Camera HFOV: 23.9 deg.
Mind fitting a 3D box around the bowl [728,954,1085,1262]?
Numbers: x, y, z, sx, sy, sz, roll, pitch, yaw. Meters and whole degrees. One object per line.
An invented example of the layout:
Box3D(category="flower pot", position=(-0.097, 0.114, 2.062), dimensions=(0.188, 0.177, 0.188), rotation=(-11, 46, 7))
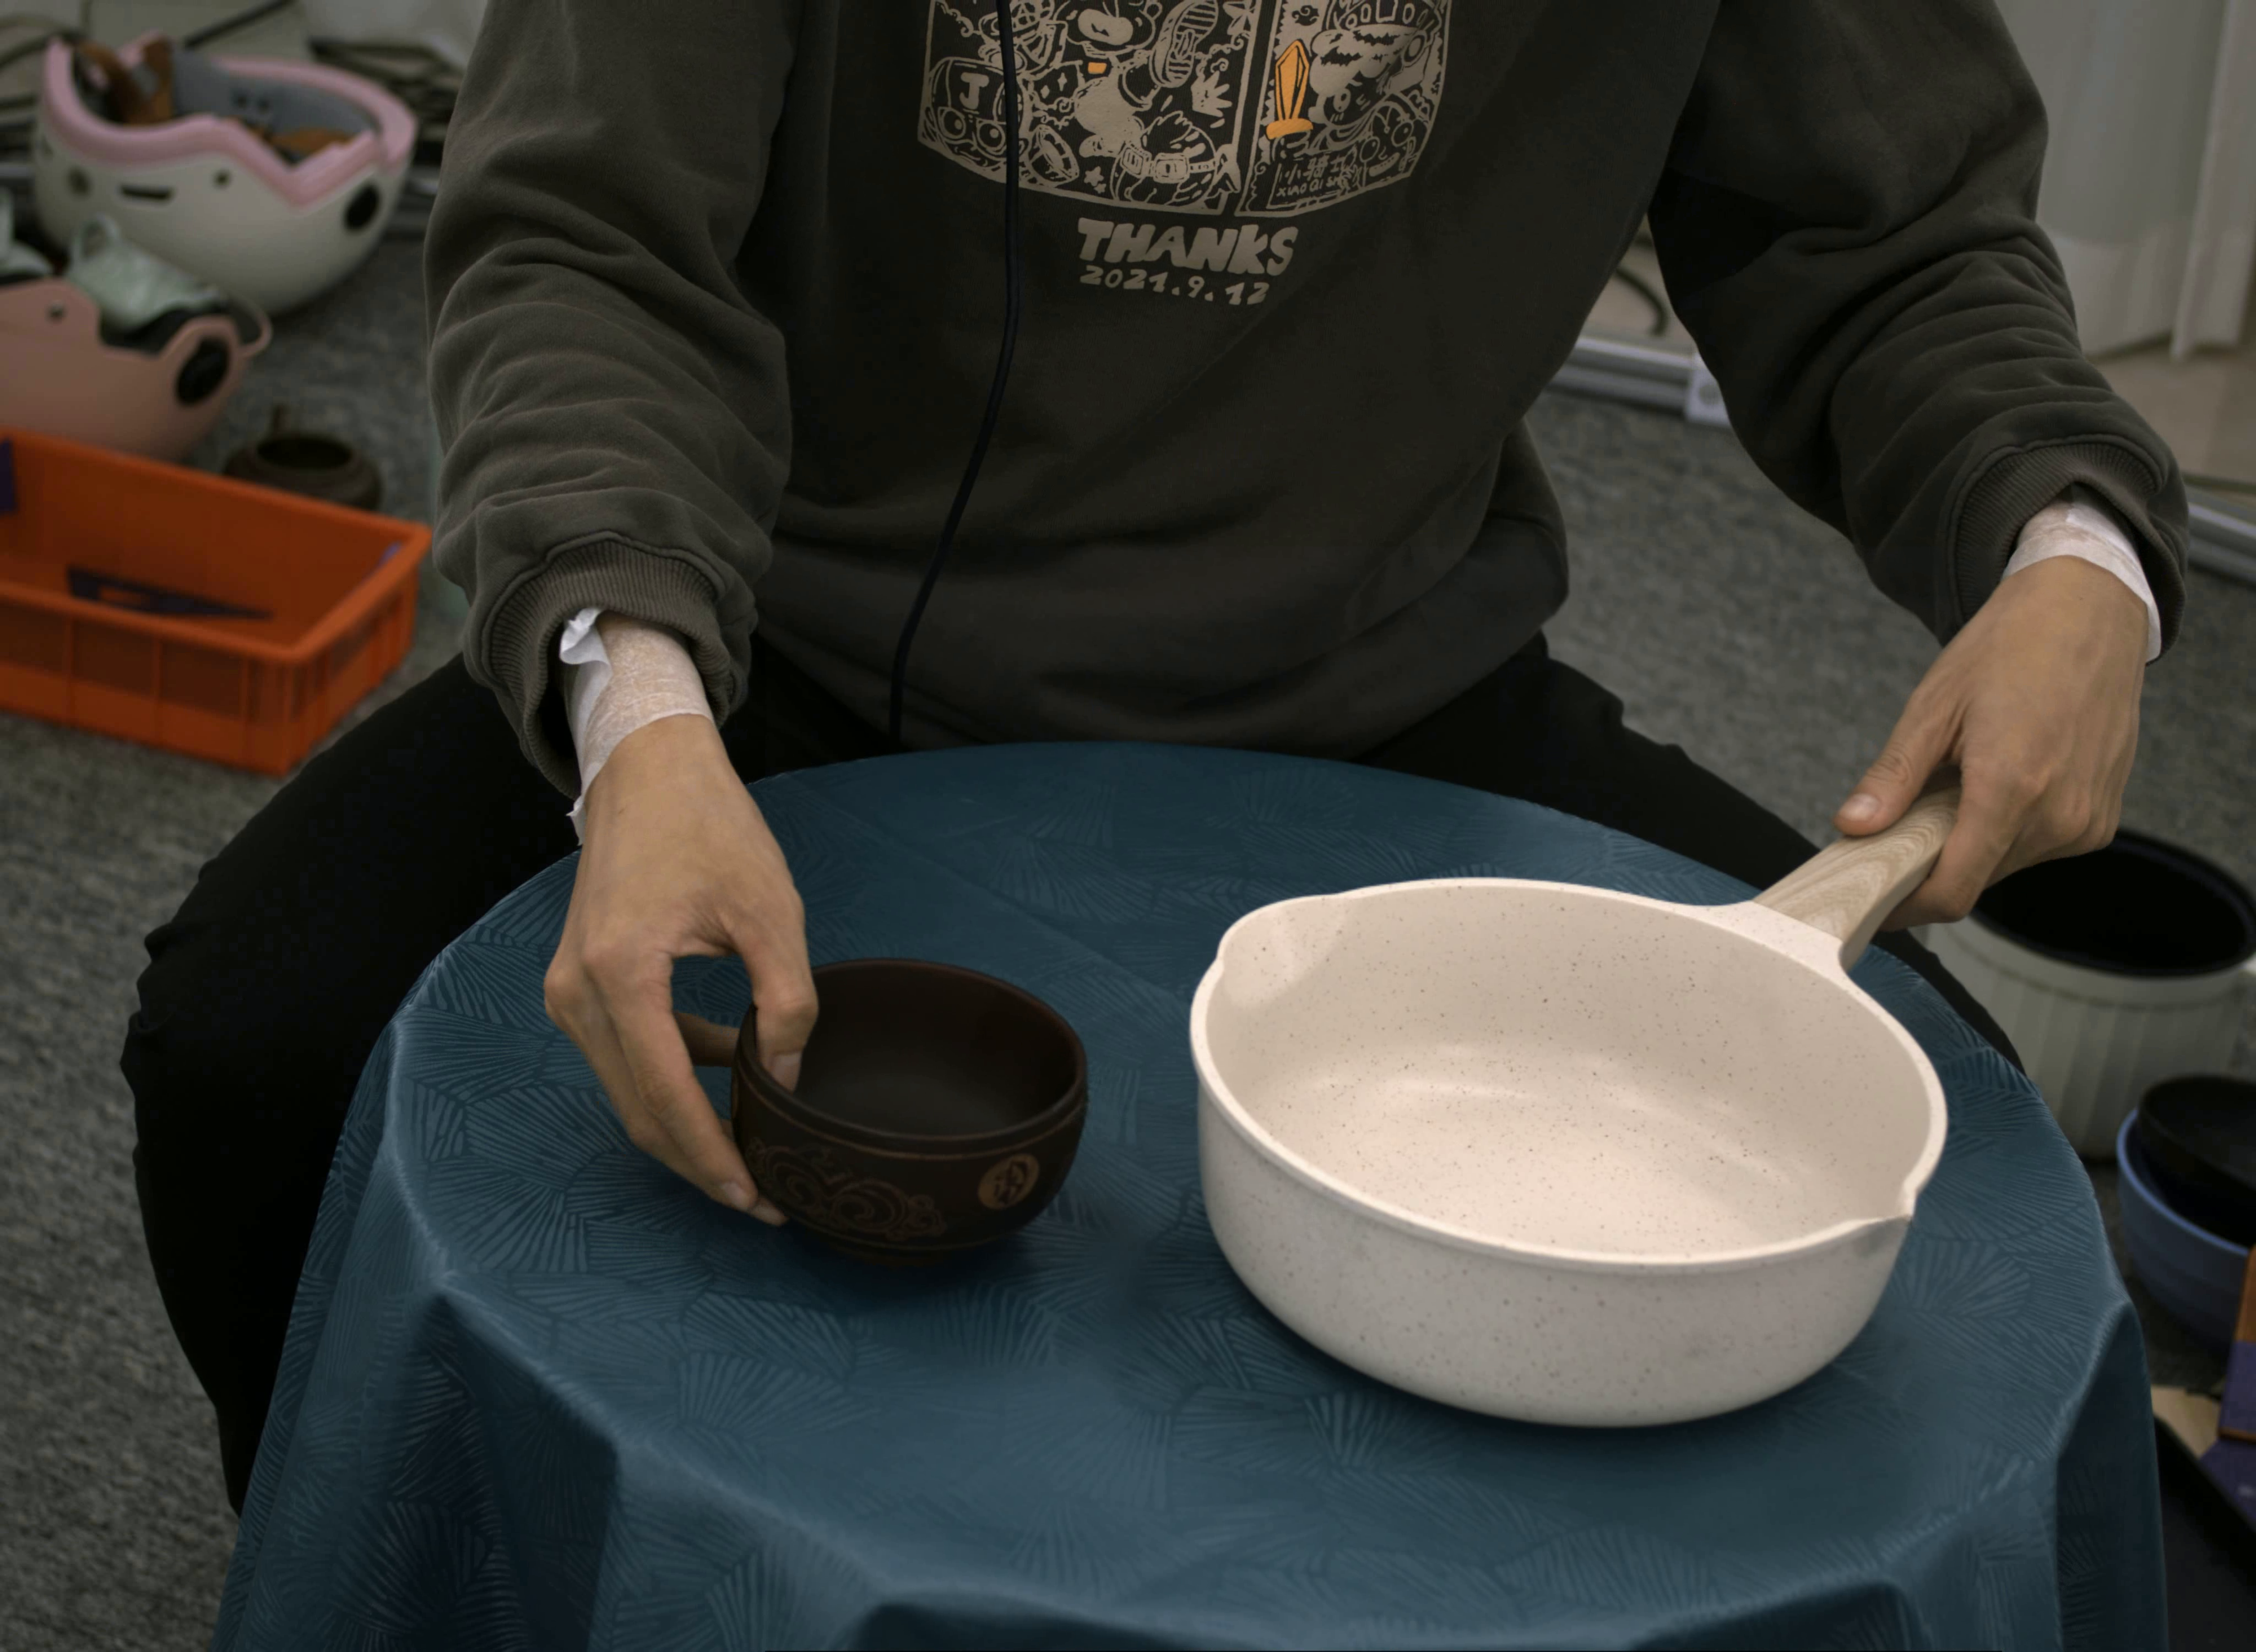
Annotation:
Box3D(category="bowl", position=(-0.074, 0.100, 1.753), dimensions=(0.117, 0.069, 0.119), rotation=(5, 26, -3))

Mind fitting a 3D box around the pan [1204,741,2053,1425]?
Box3D(category="pan", position=(0.202, 0.079, 1.829), dimensions=(0.265, 0.101, 0.433), rotation=(22, 30, 32))
